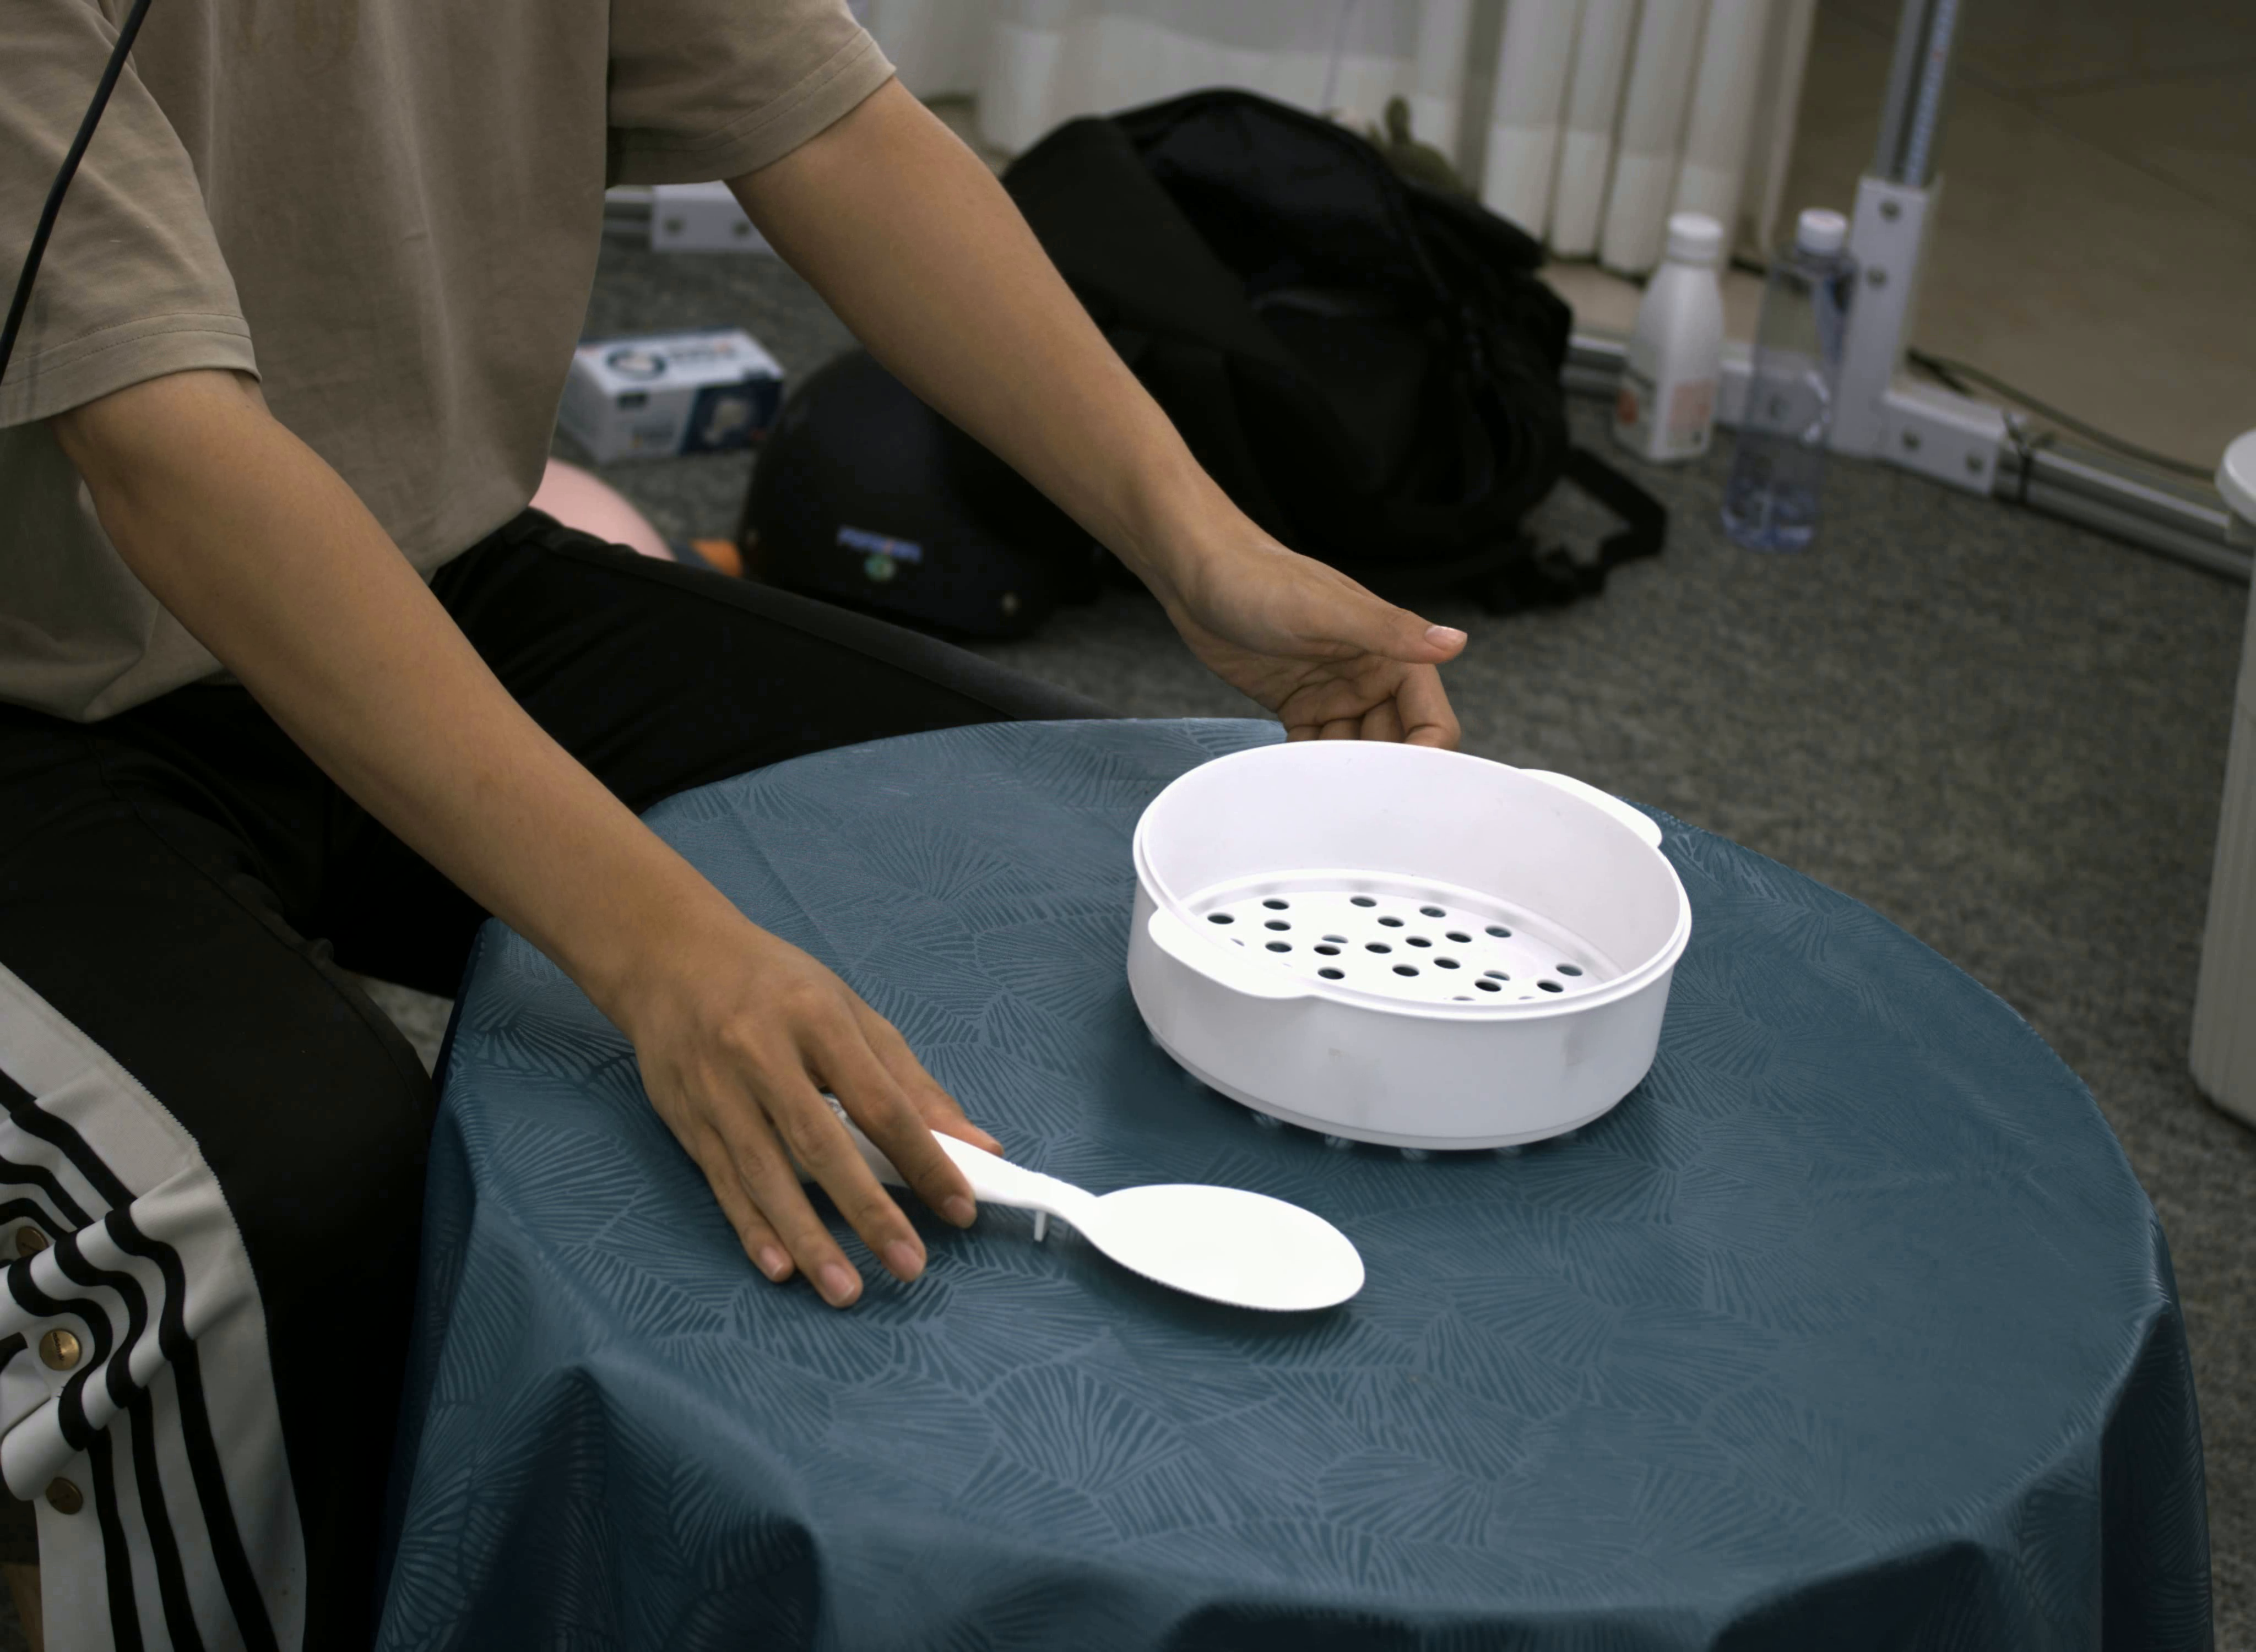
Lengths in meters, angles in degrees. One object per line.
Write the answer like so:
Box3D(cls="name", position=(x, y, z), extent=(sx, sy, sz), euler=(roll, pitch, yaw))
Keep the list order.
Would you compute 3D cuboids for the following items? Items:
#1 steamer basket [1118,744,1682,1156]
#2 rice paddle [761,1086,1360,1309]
Box3D(cls="steamer basket", position=(0.094, 0.045, 1.908), extent=(0.203, 0.069, 0.229), euler=(30, 33, 35))
Box3D(cls="rice paddle", position=(-0.021, 0.124, 1.766), extent=(0.205, 0.029, 0.069), euler=(13, 29, 12))
